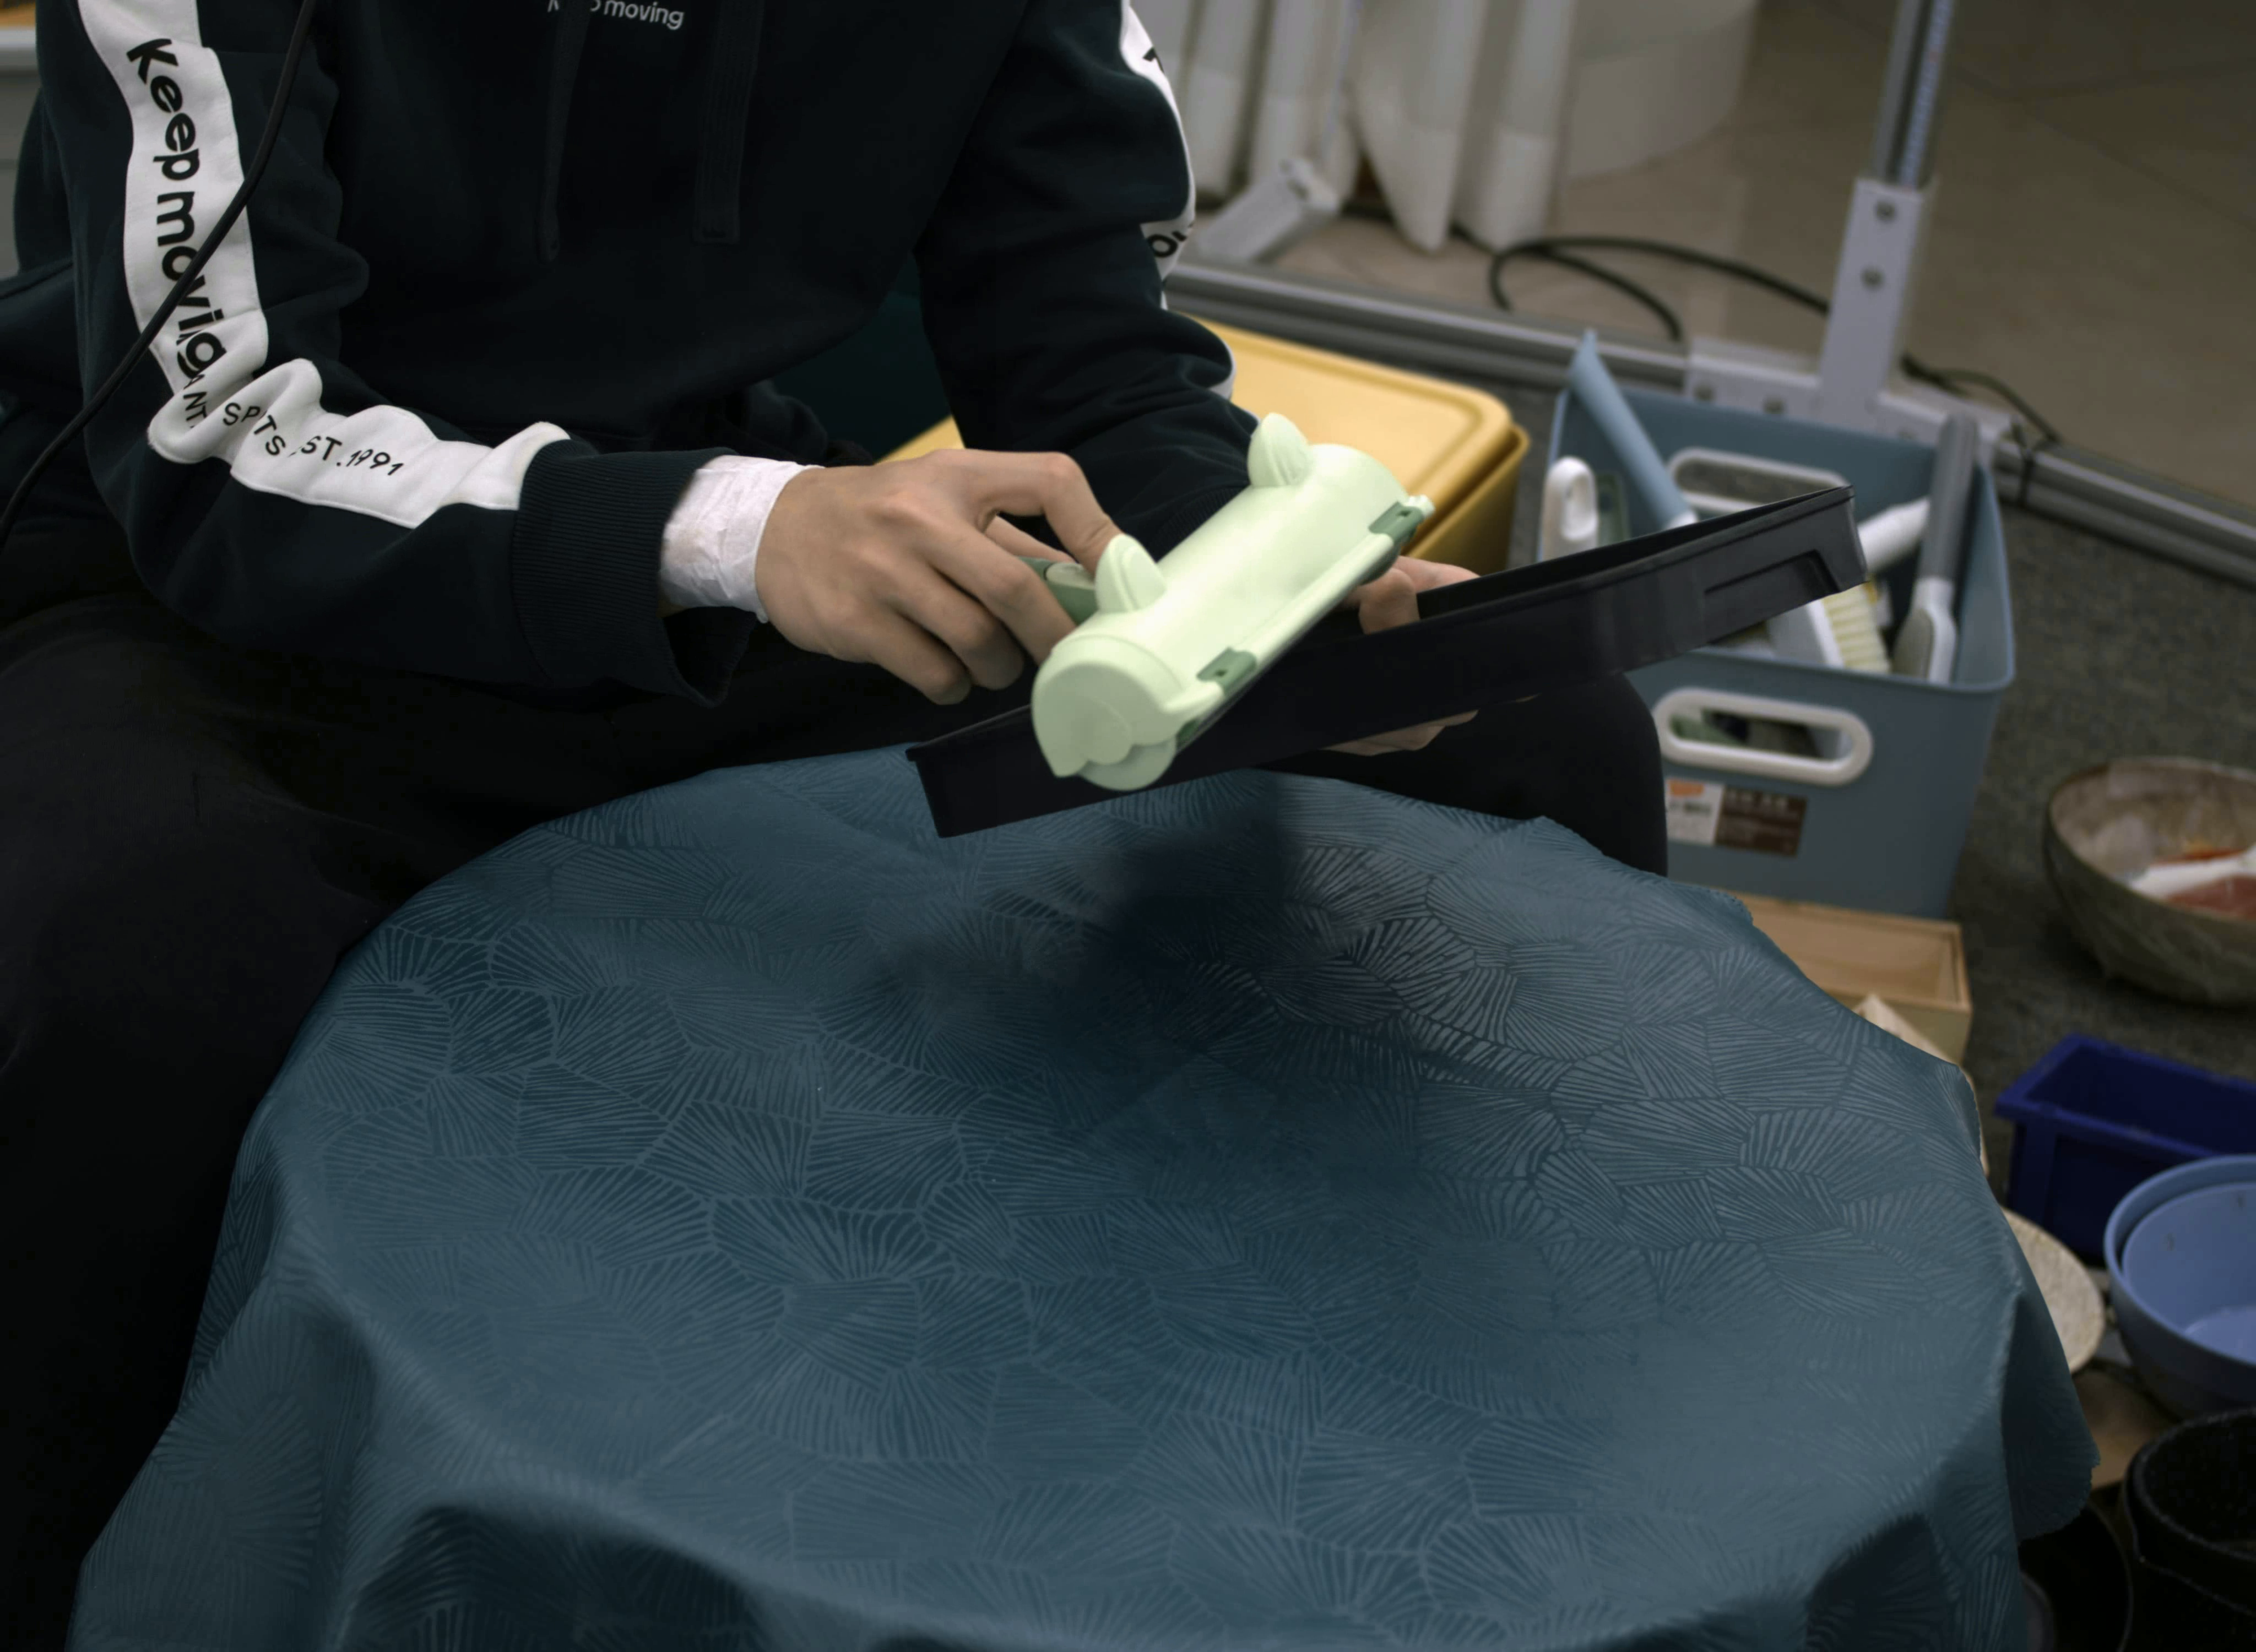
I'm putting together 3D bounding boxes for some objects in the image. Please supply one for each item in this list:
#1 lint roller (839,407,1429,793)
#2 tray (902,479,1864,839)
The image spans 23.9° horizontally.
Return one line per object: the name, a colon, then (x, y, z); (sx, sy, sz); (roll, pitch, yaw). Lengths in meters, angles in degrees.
lint roller: (-0.018, -0.088, 1.787); (0.184, 0.082, 0.198); (11, 29, 25)
tray: (0.089, -0.058, 1.878); (0.319, 0.037, 0.183); (-14, 4, 37)
